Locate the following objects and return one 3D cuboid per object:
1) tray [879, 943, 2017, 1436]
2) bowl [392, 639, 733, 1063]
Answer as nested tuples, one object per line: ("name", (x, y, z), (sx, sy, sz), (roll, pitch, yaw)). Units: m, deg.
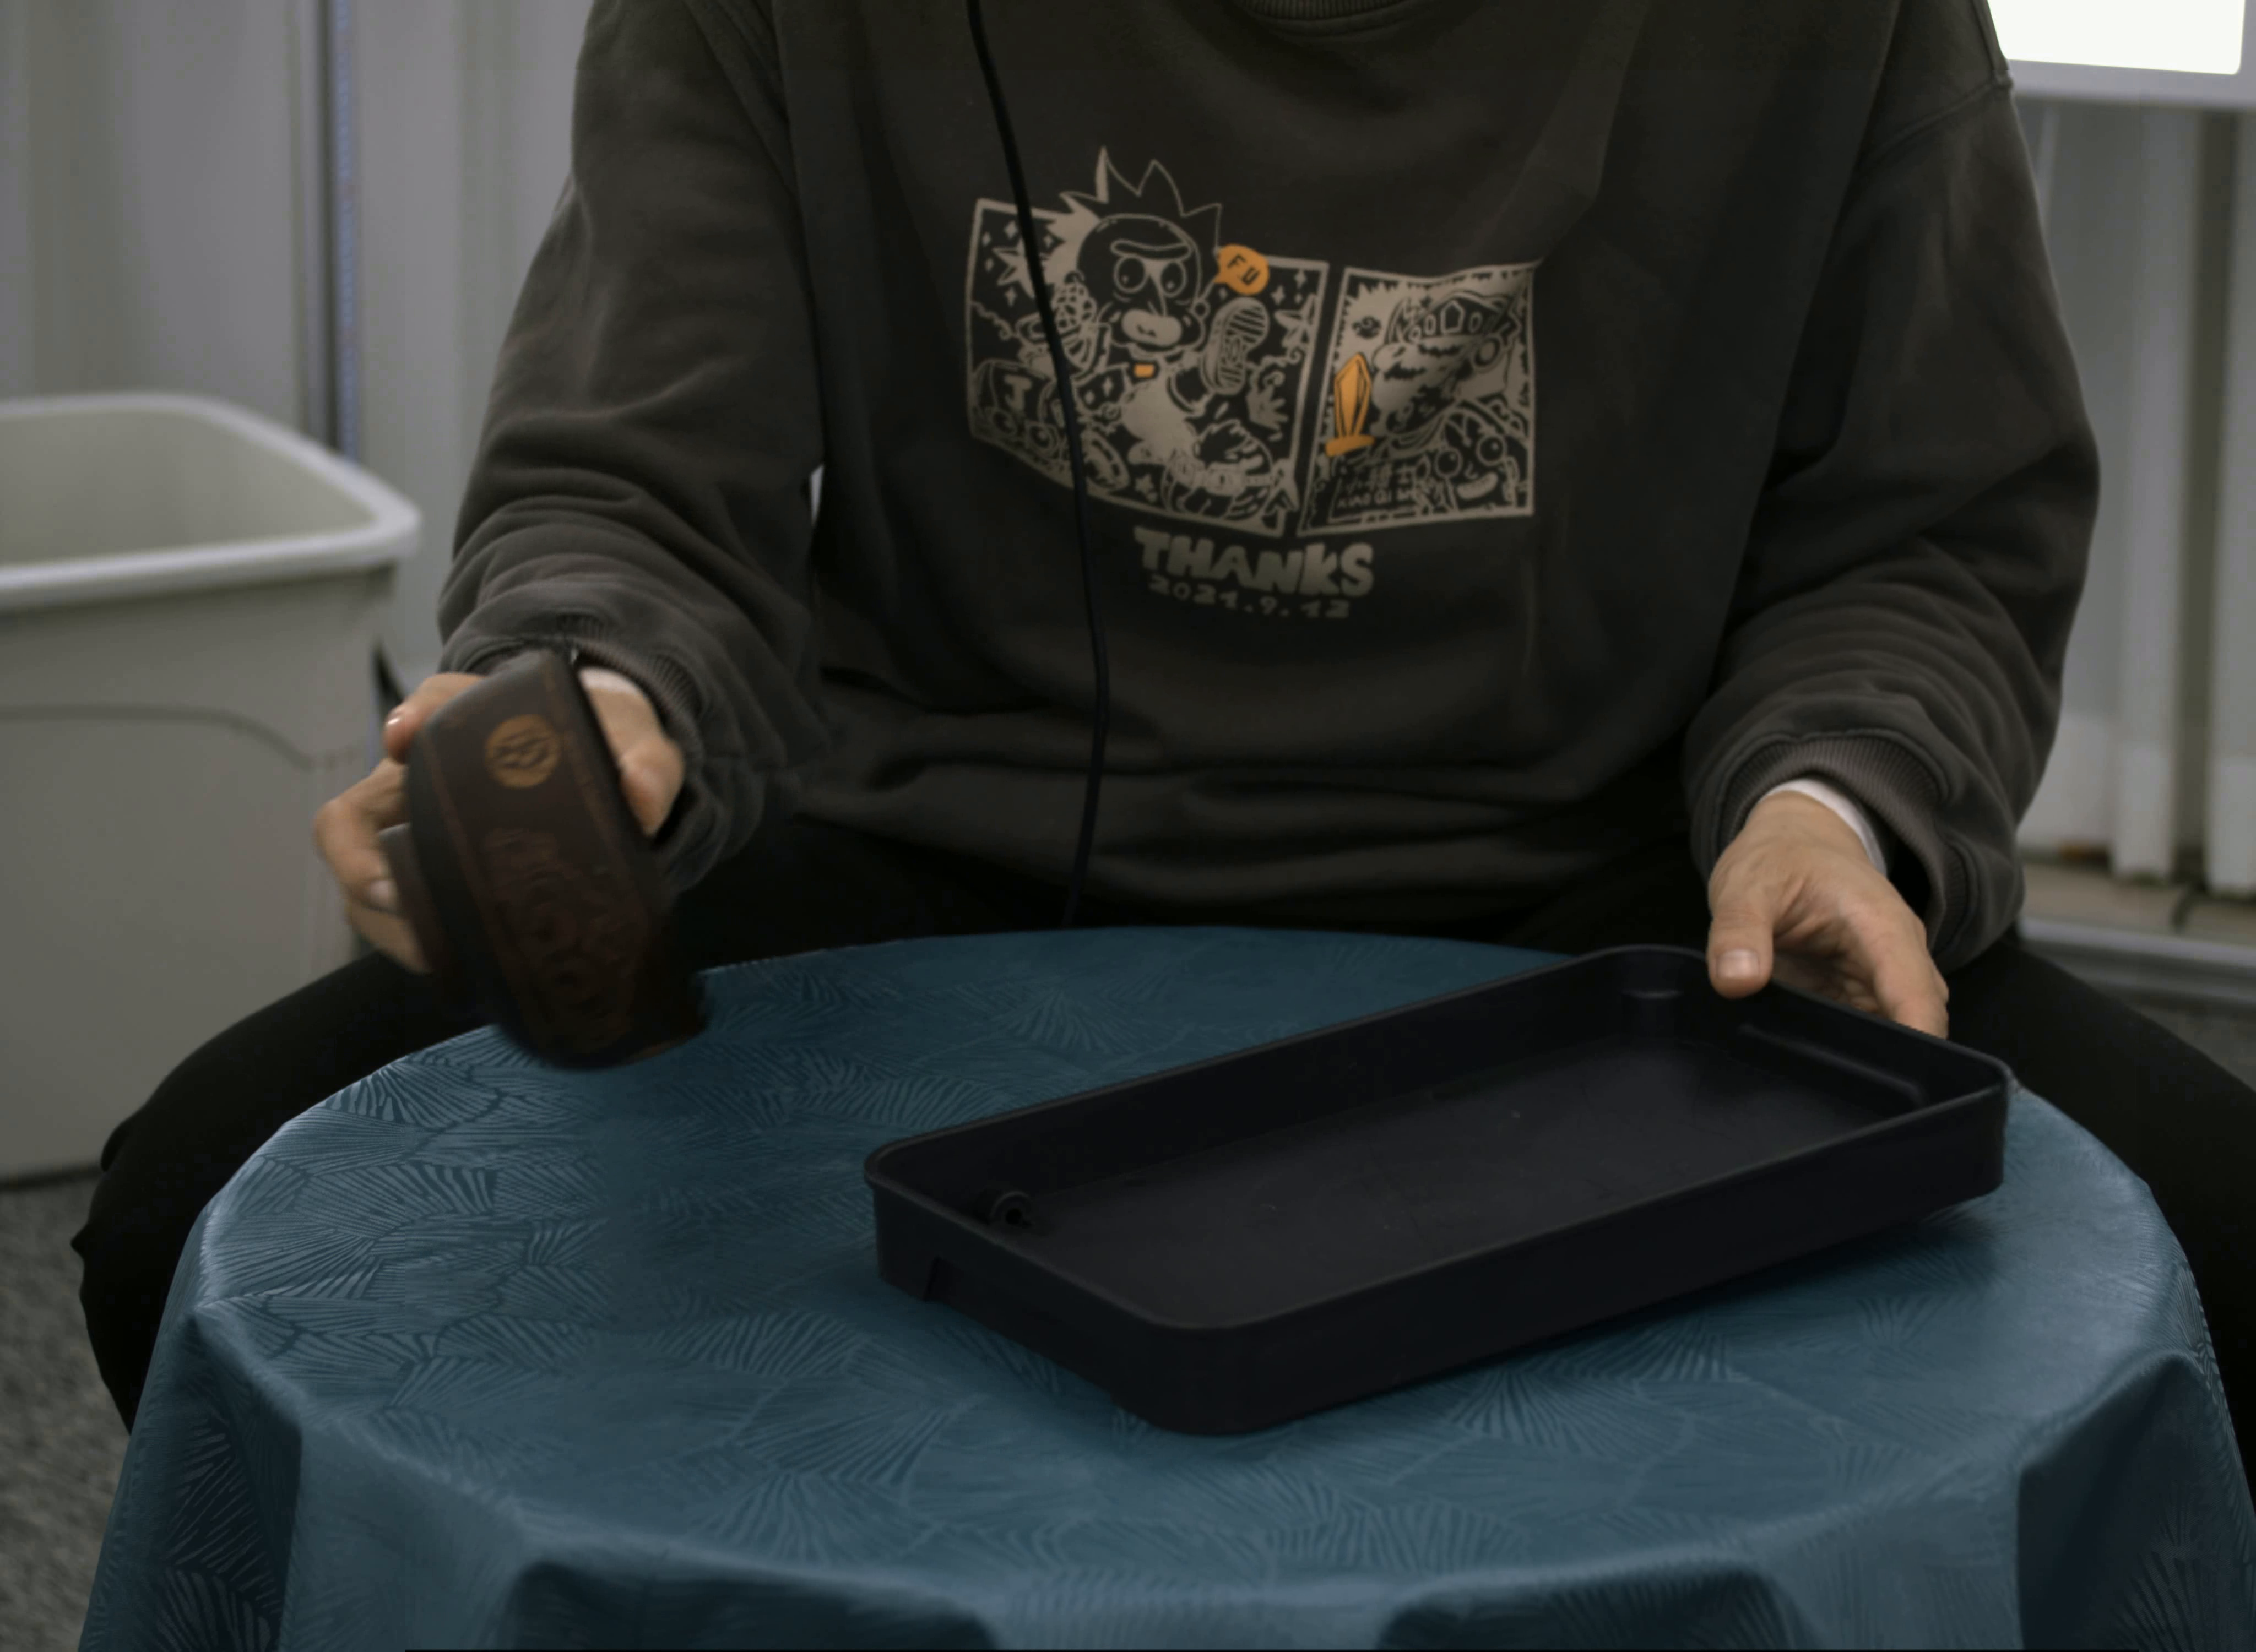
("tray", (0.099, 0.102, 1.579), (0.319, 0.037, 0.182), (-14, 20, -35))
("bowl", (-0.165, 0.013, 1.486), (0.070, 0.119, 0.117), (-23, 19, -5))
